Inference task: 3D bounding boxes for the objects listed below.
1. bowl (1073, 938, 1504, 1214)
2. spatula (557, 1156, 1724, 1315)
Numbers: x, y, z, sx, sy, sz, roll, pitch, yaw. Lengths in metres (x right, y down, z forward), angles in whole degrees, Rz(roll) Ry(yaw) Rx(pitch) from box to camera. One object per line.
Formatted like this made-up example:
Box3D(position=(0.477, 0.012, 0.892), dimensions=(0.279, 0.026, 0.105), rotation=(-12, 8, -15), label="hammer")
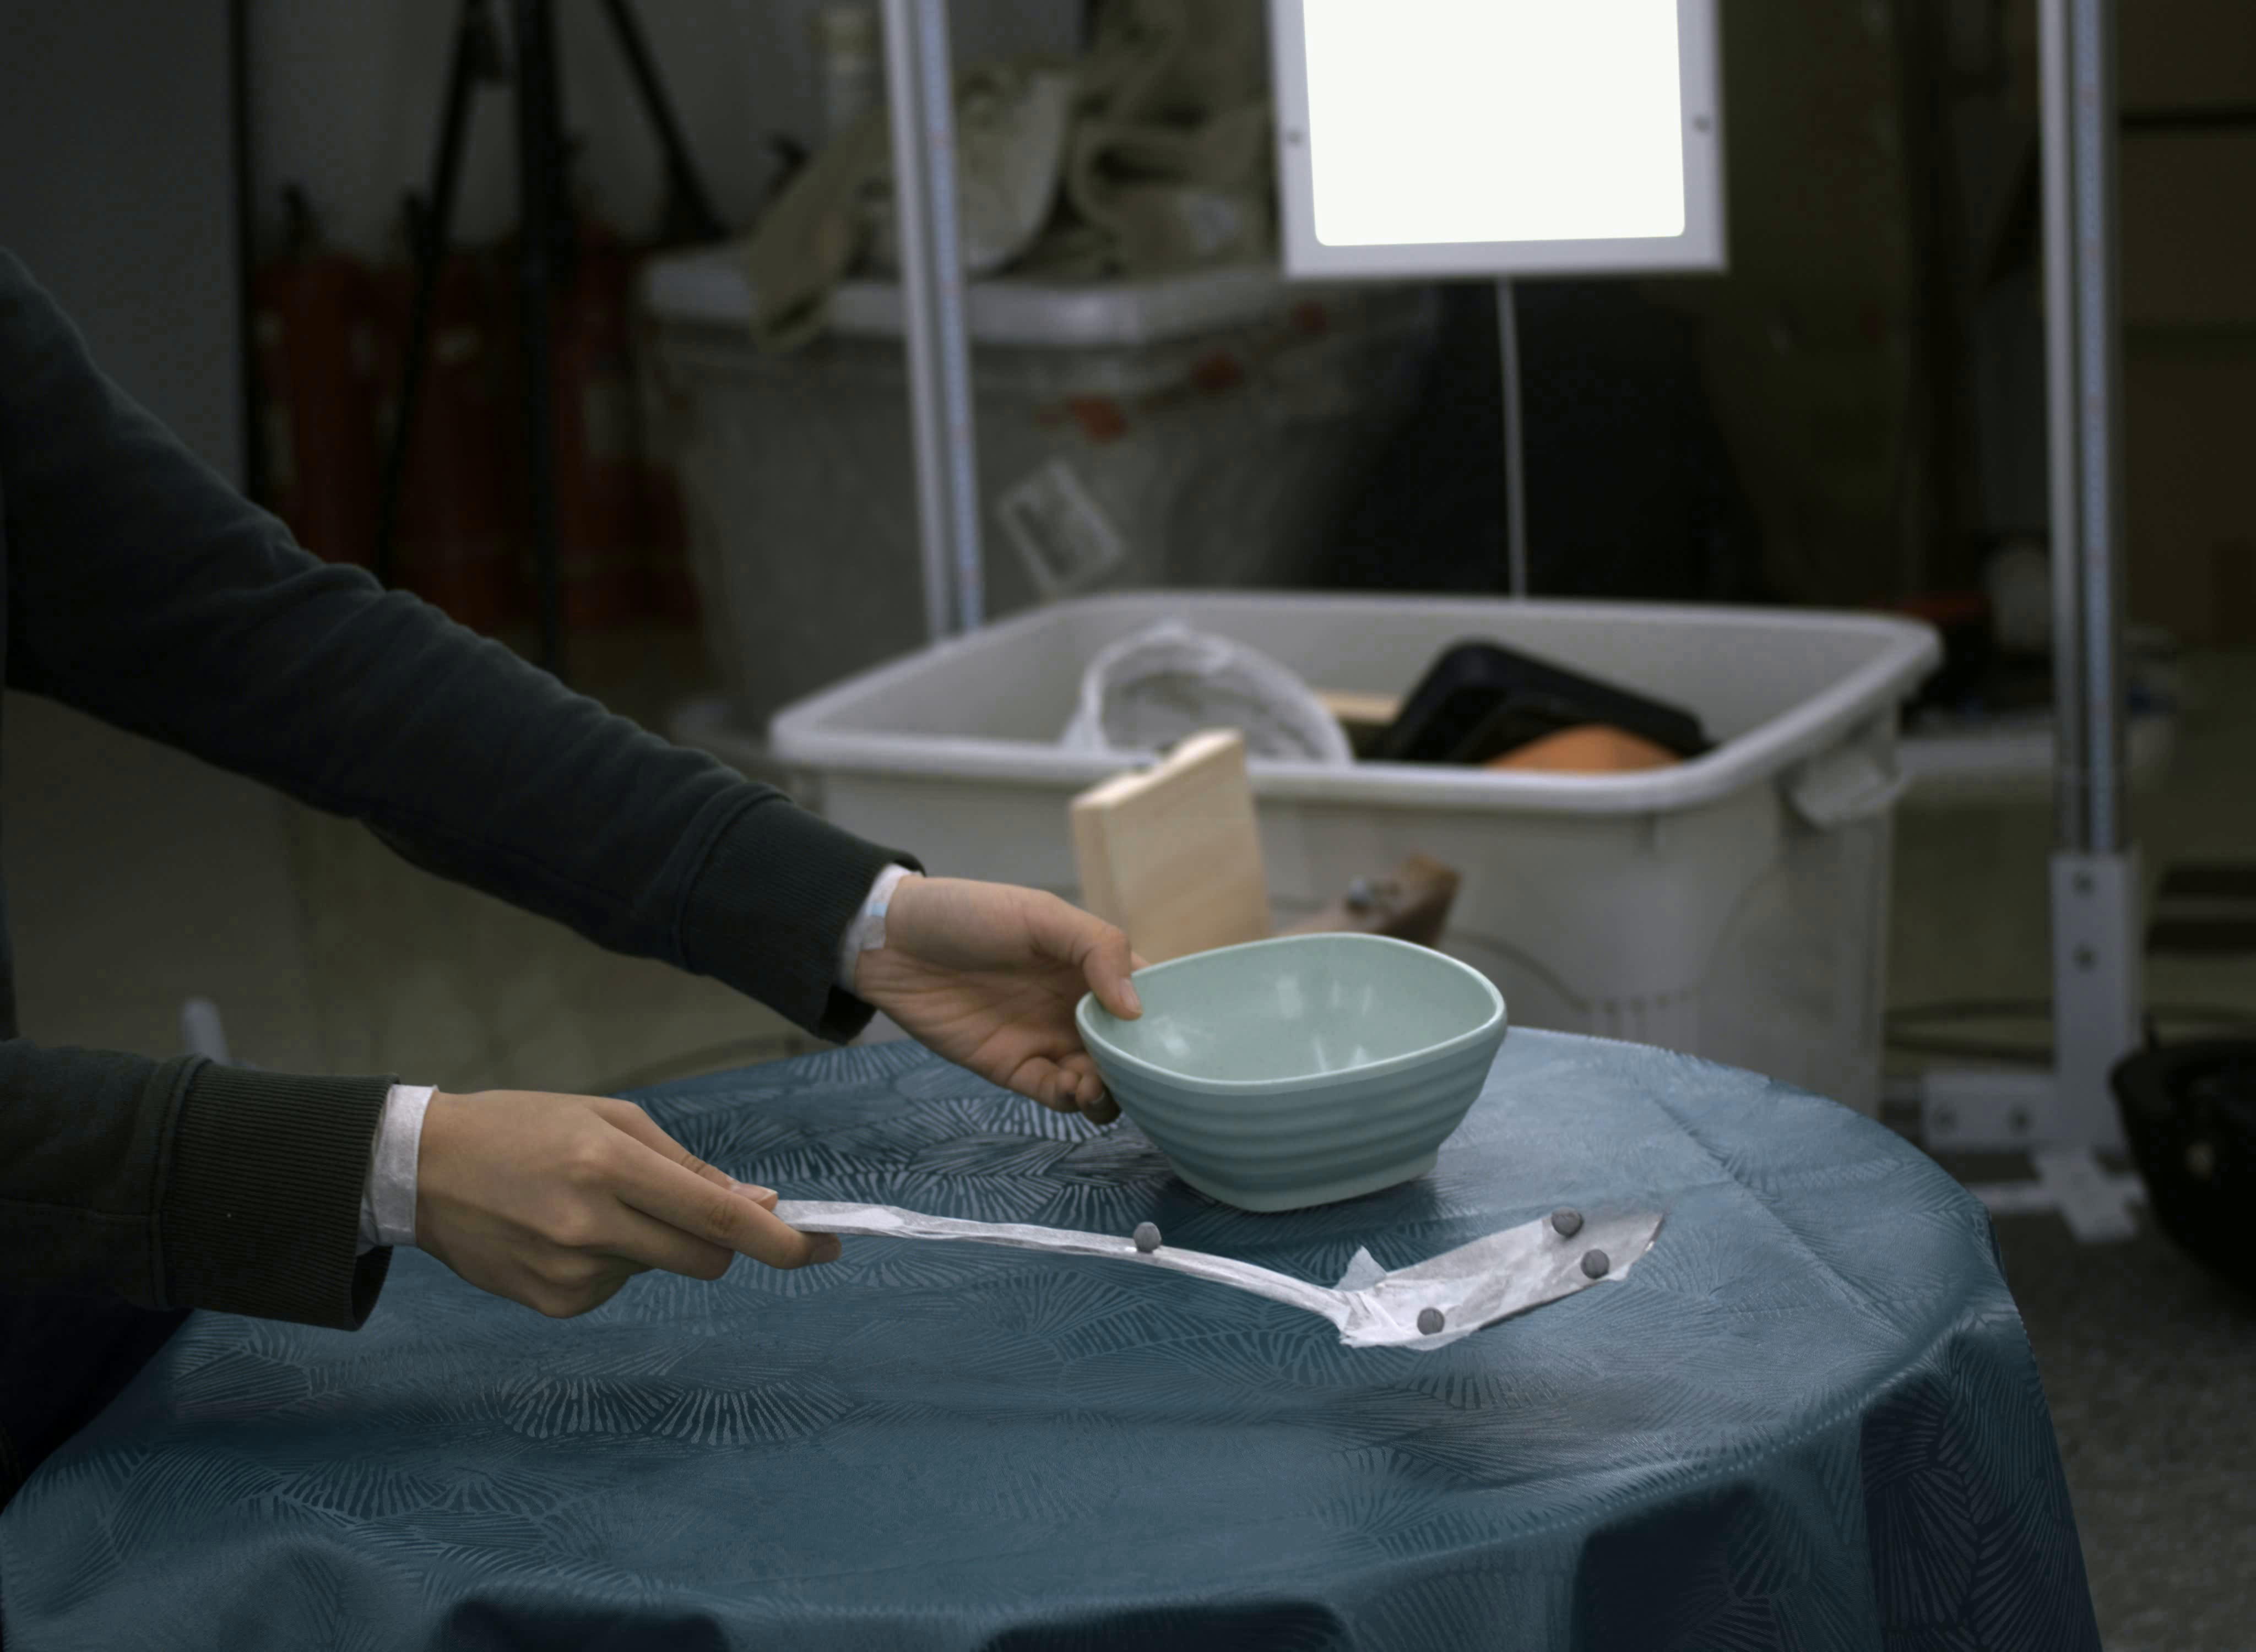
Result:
Box3D(position=(0.056, 0.089, 1.891), dimensions=(0.151, 0.059, 0.151), rotation=(-3, 18, -1), label="bowl")
Box3D(position=(-0.001, 0.126, 1.672), dimensions=(0.367, 0.045, 0.098), rotation=(-1, 1, 12), label="spatula")
